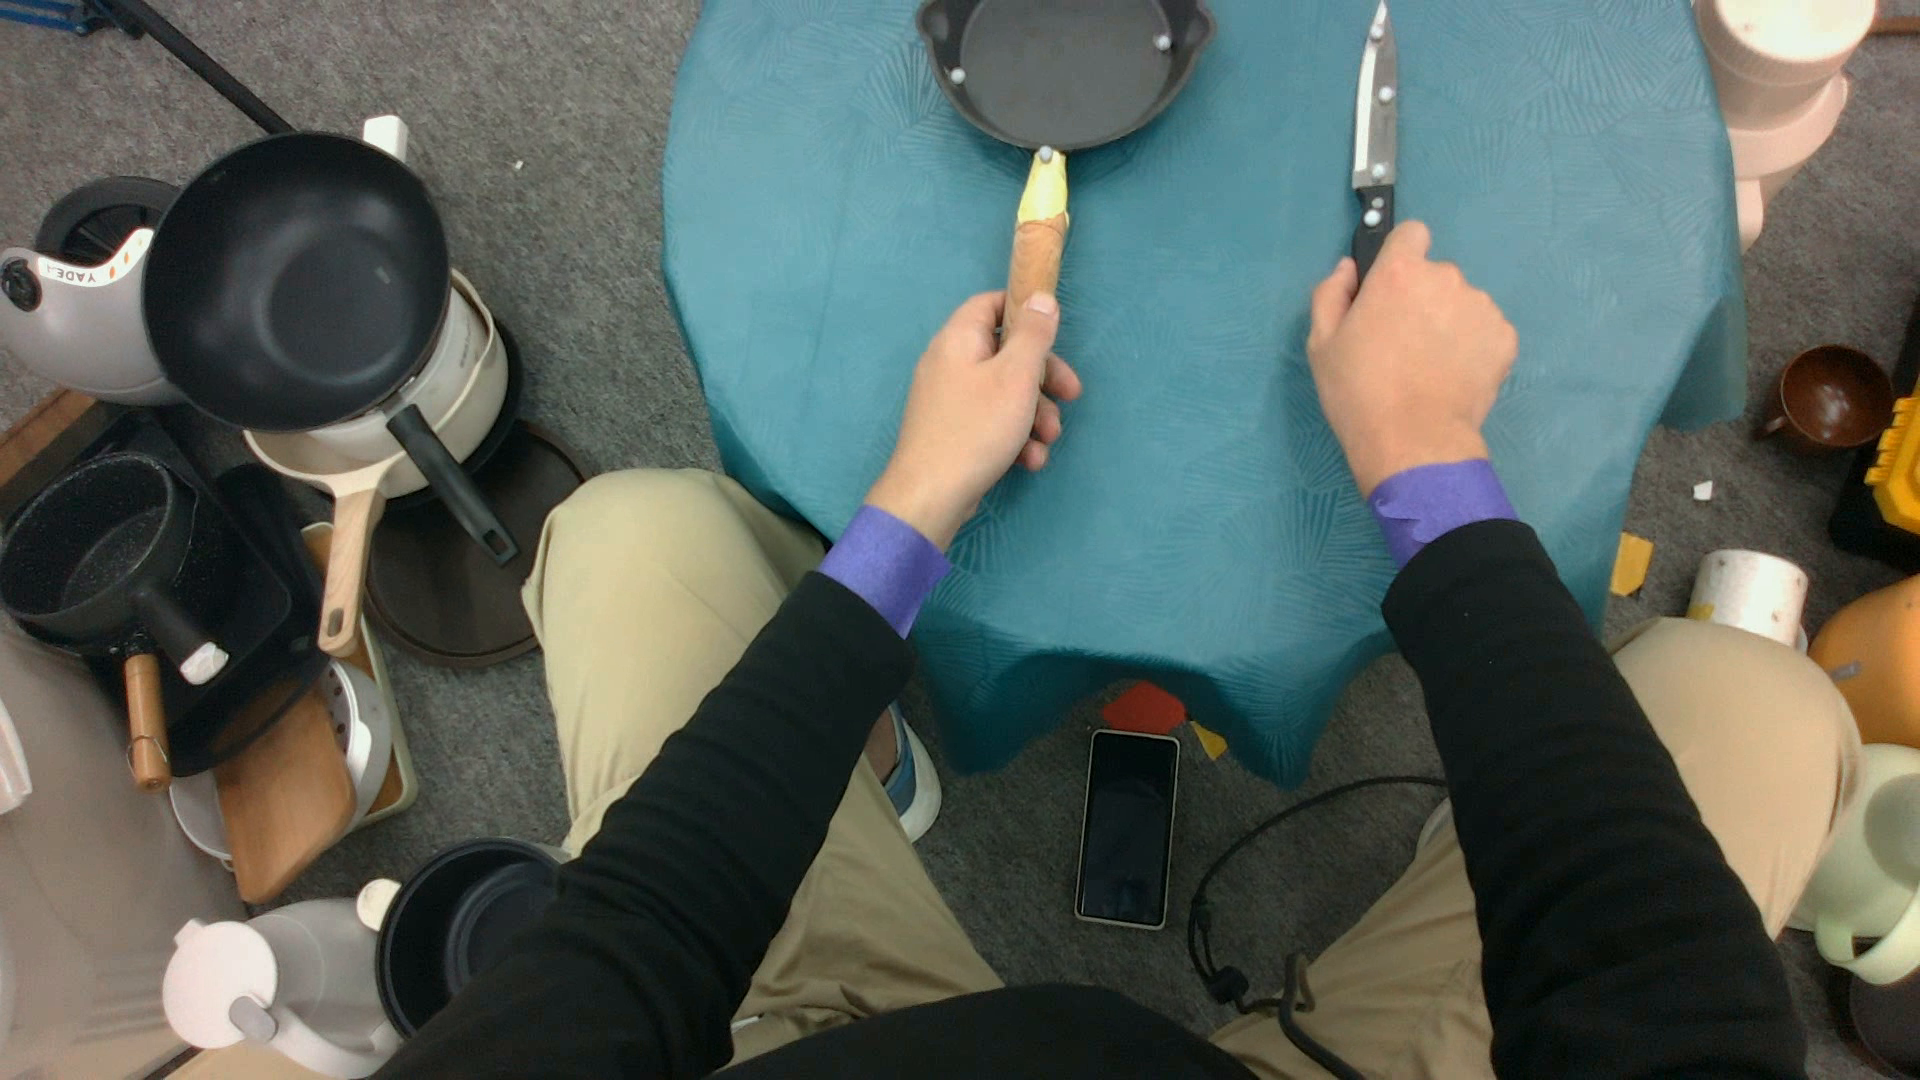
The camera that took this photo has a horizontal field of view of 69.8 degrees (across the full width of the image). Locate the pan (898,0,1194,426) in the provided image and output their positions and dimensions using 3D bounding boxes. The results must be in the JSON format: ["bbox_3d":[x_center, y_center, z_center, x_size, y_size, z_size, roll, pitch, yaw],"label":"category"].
[{"bbox_3d":[0.036,-0.215,0.768,0.169,0.049,0.325,7,76,7],"label":"pan"}]

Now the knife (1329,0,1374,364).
[{"bbox_3d":[0.218,-0.207,0.765,0.024,0.016,0.239,-2,70,22],"label":"knife"}]
